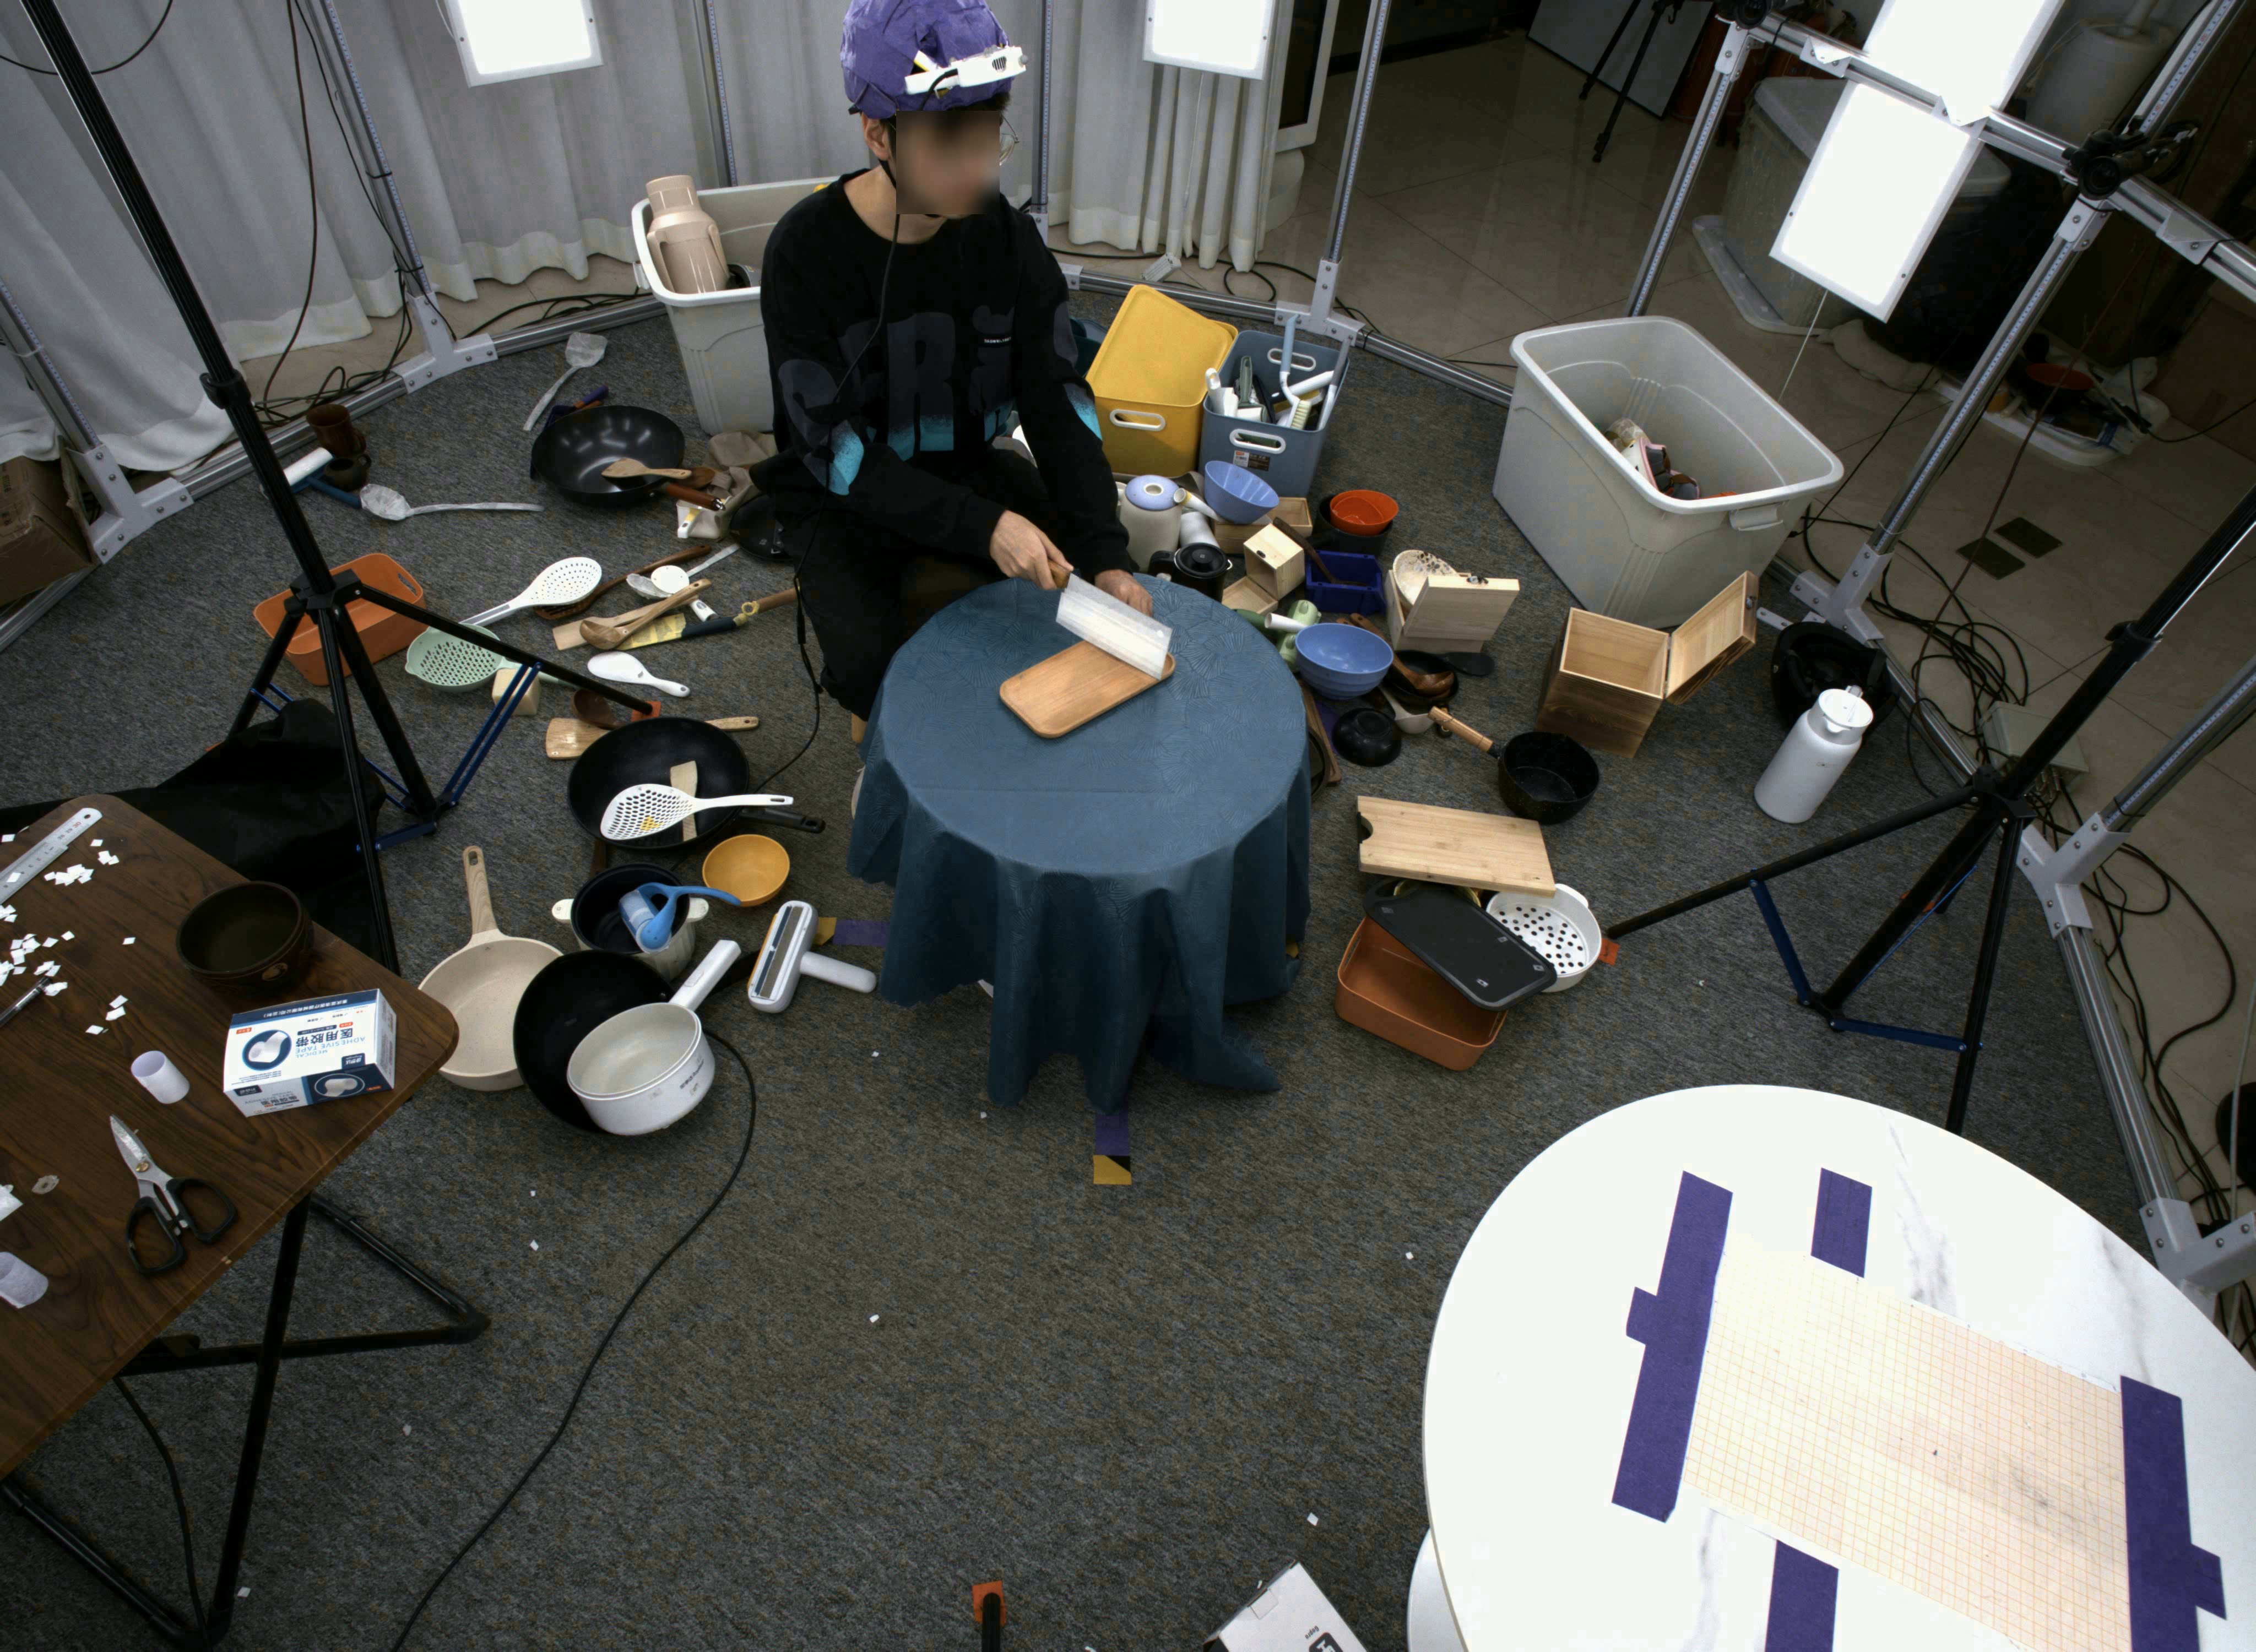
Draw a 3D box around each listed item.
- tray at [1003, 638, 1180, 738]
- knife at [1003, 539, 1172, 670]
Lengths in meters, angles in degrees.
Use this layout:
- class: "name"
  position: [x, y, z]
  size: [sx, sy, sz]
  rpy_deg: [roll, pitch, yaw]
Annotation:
- class: "tray"
  position: [-0.050, -0.208, 1.837]
  size: [0.252, 0.022, 0.133]
  rpy_deg: [-29, 59, -27]
- class: "knife"
  position: [-0.064, -0.316, 1.857]
  size: [0.309, 0.091, 0.021]
  rpy_deg: [32, 44, 22]
